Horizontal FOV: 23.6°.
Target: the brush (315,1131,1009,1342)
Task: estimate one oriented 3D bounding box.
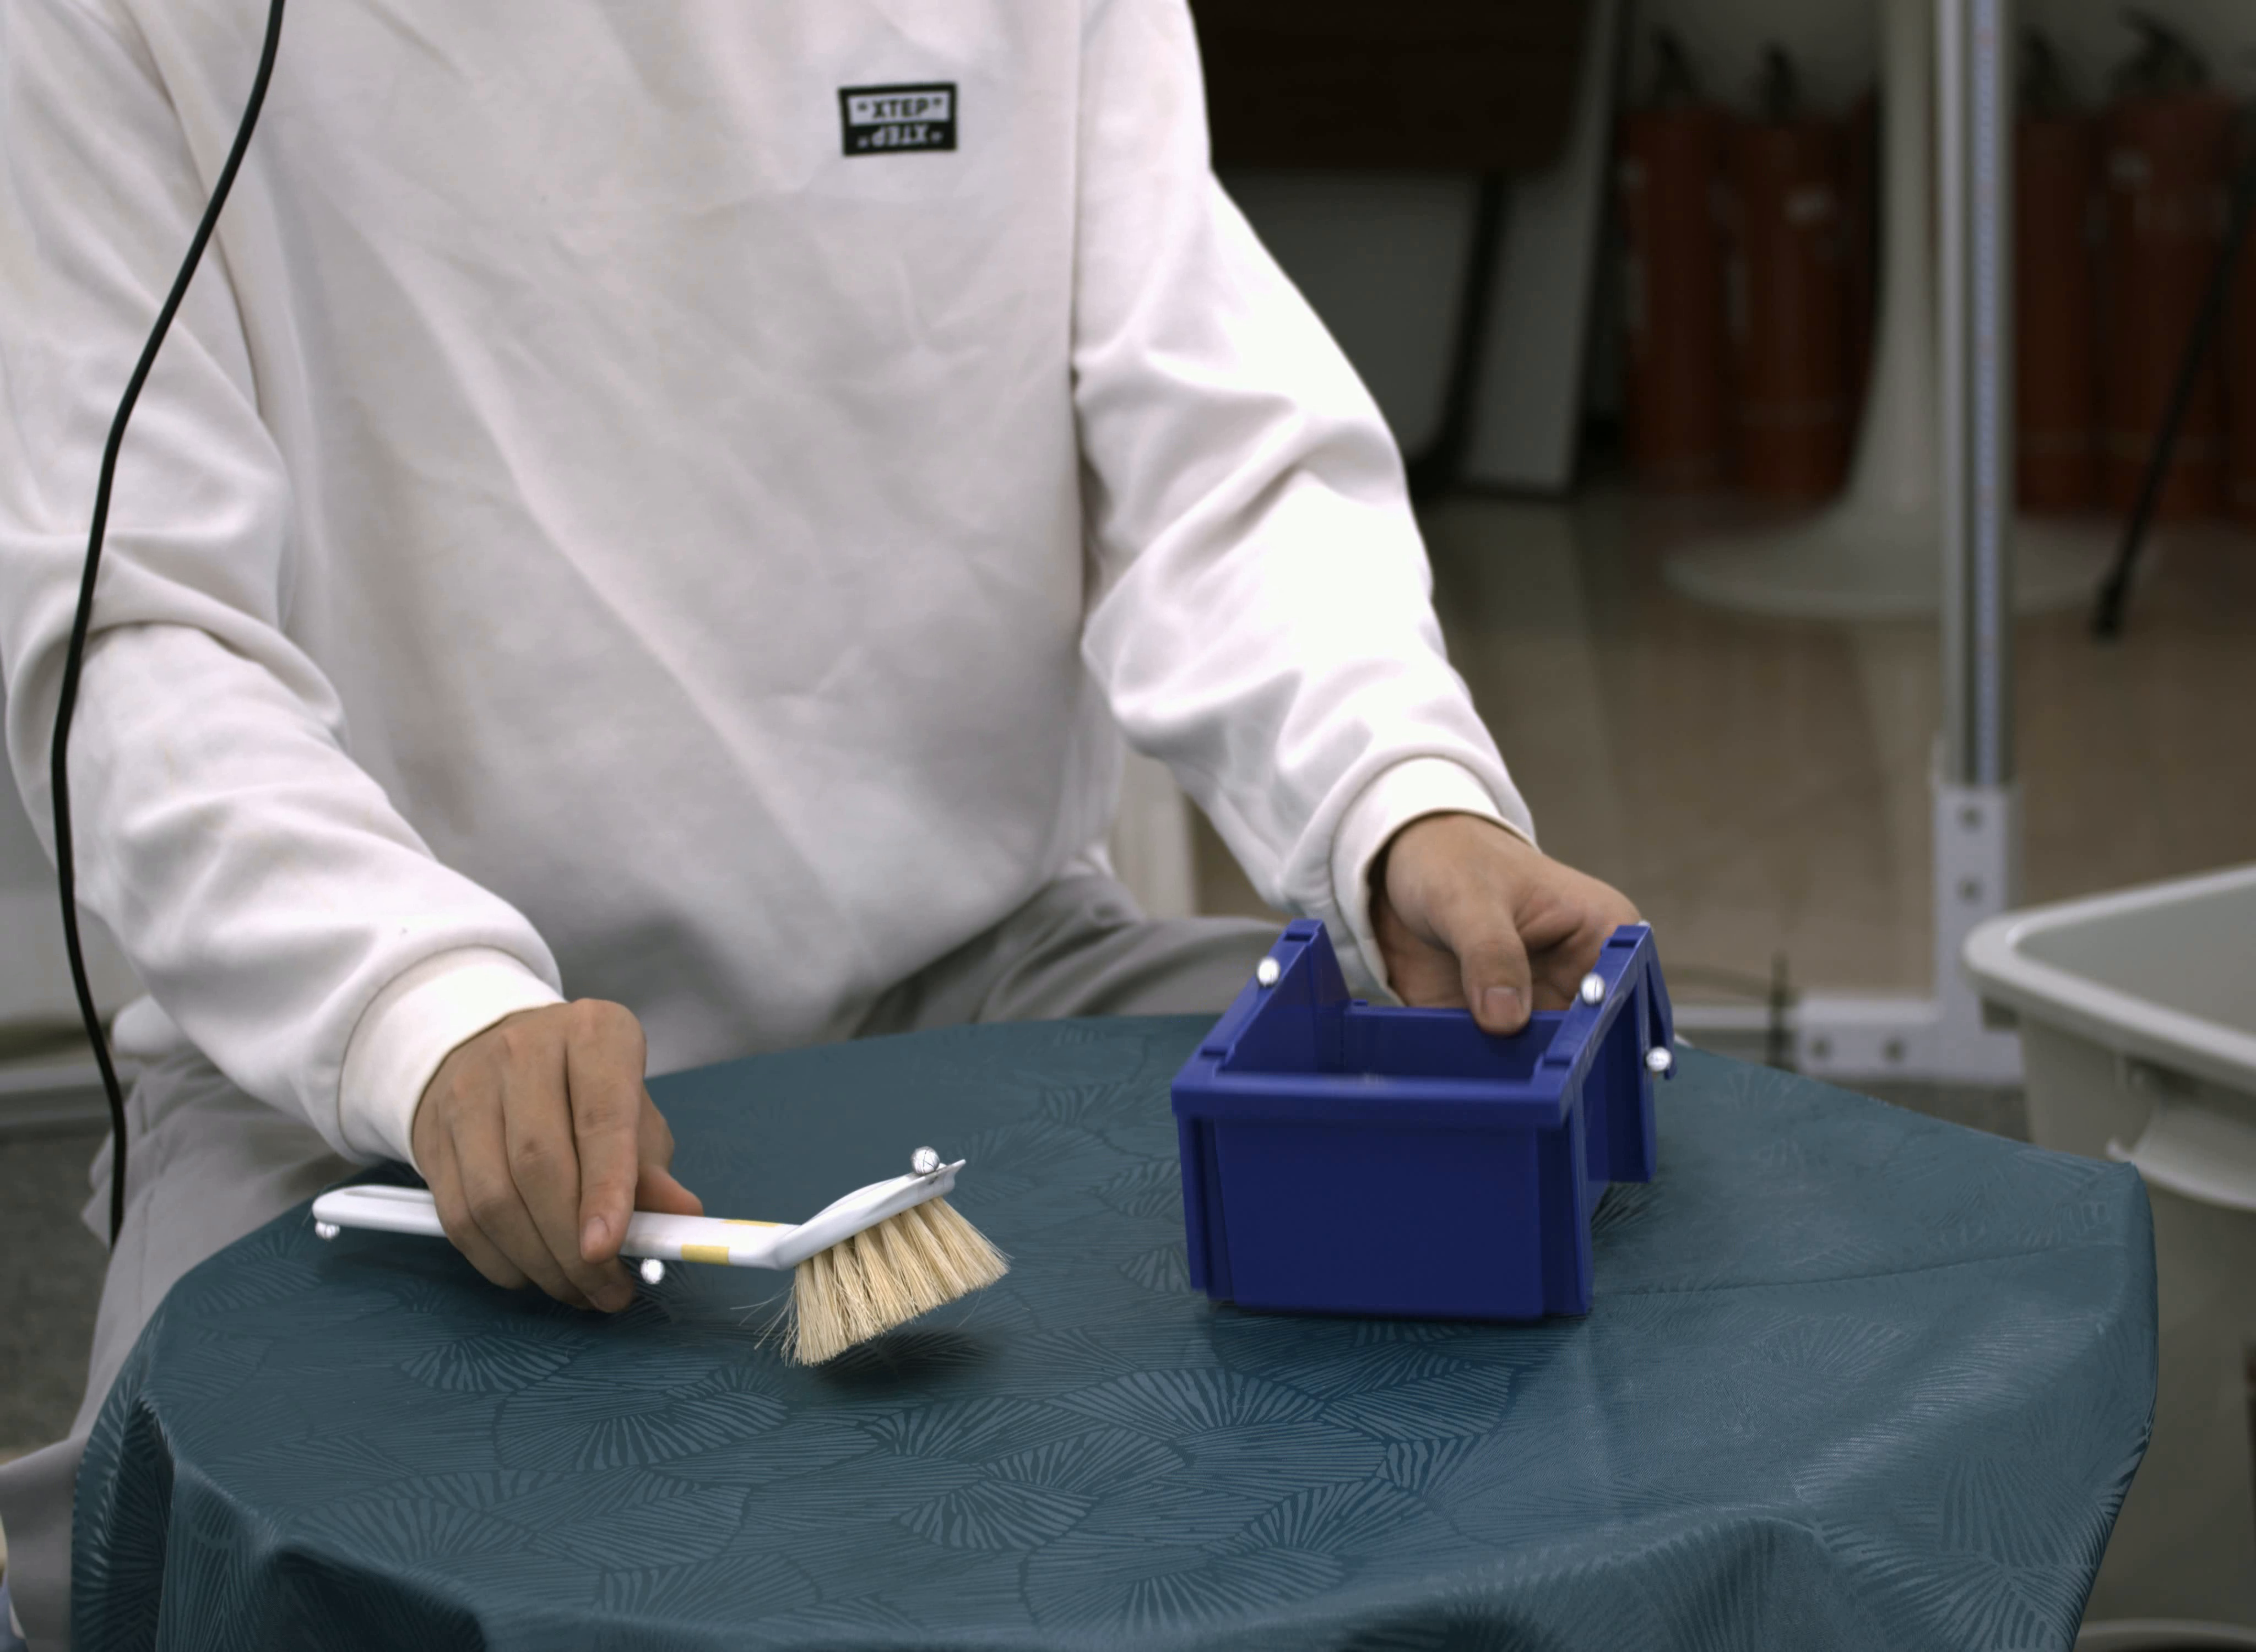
[{"bbox_3d":[-0.149,0.138,1.683,0.268,0.057,0.067,-11,-4,36],"label":"brush"}]

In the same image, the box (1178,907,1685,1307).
[{"bbox_3d":[0.097,0.083,1.693,0.124,0.082,0.178,0,19,18],"label":"box"}]
